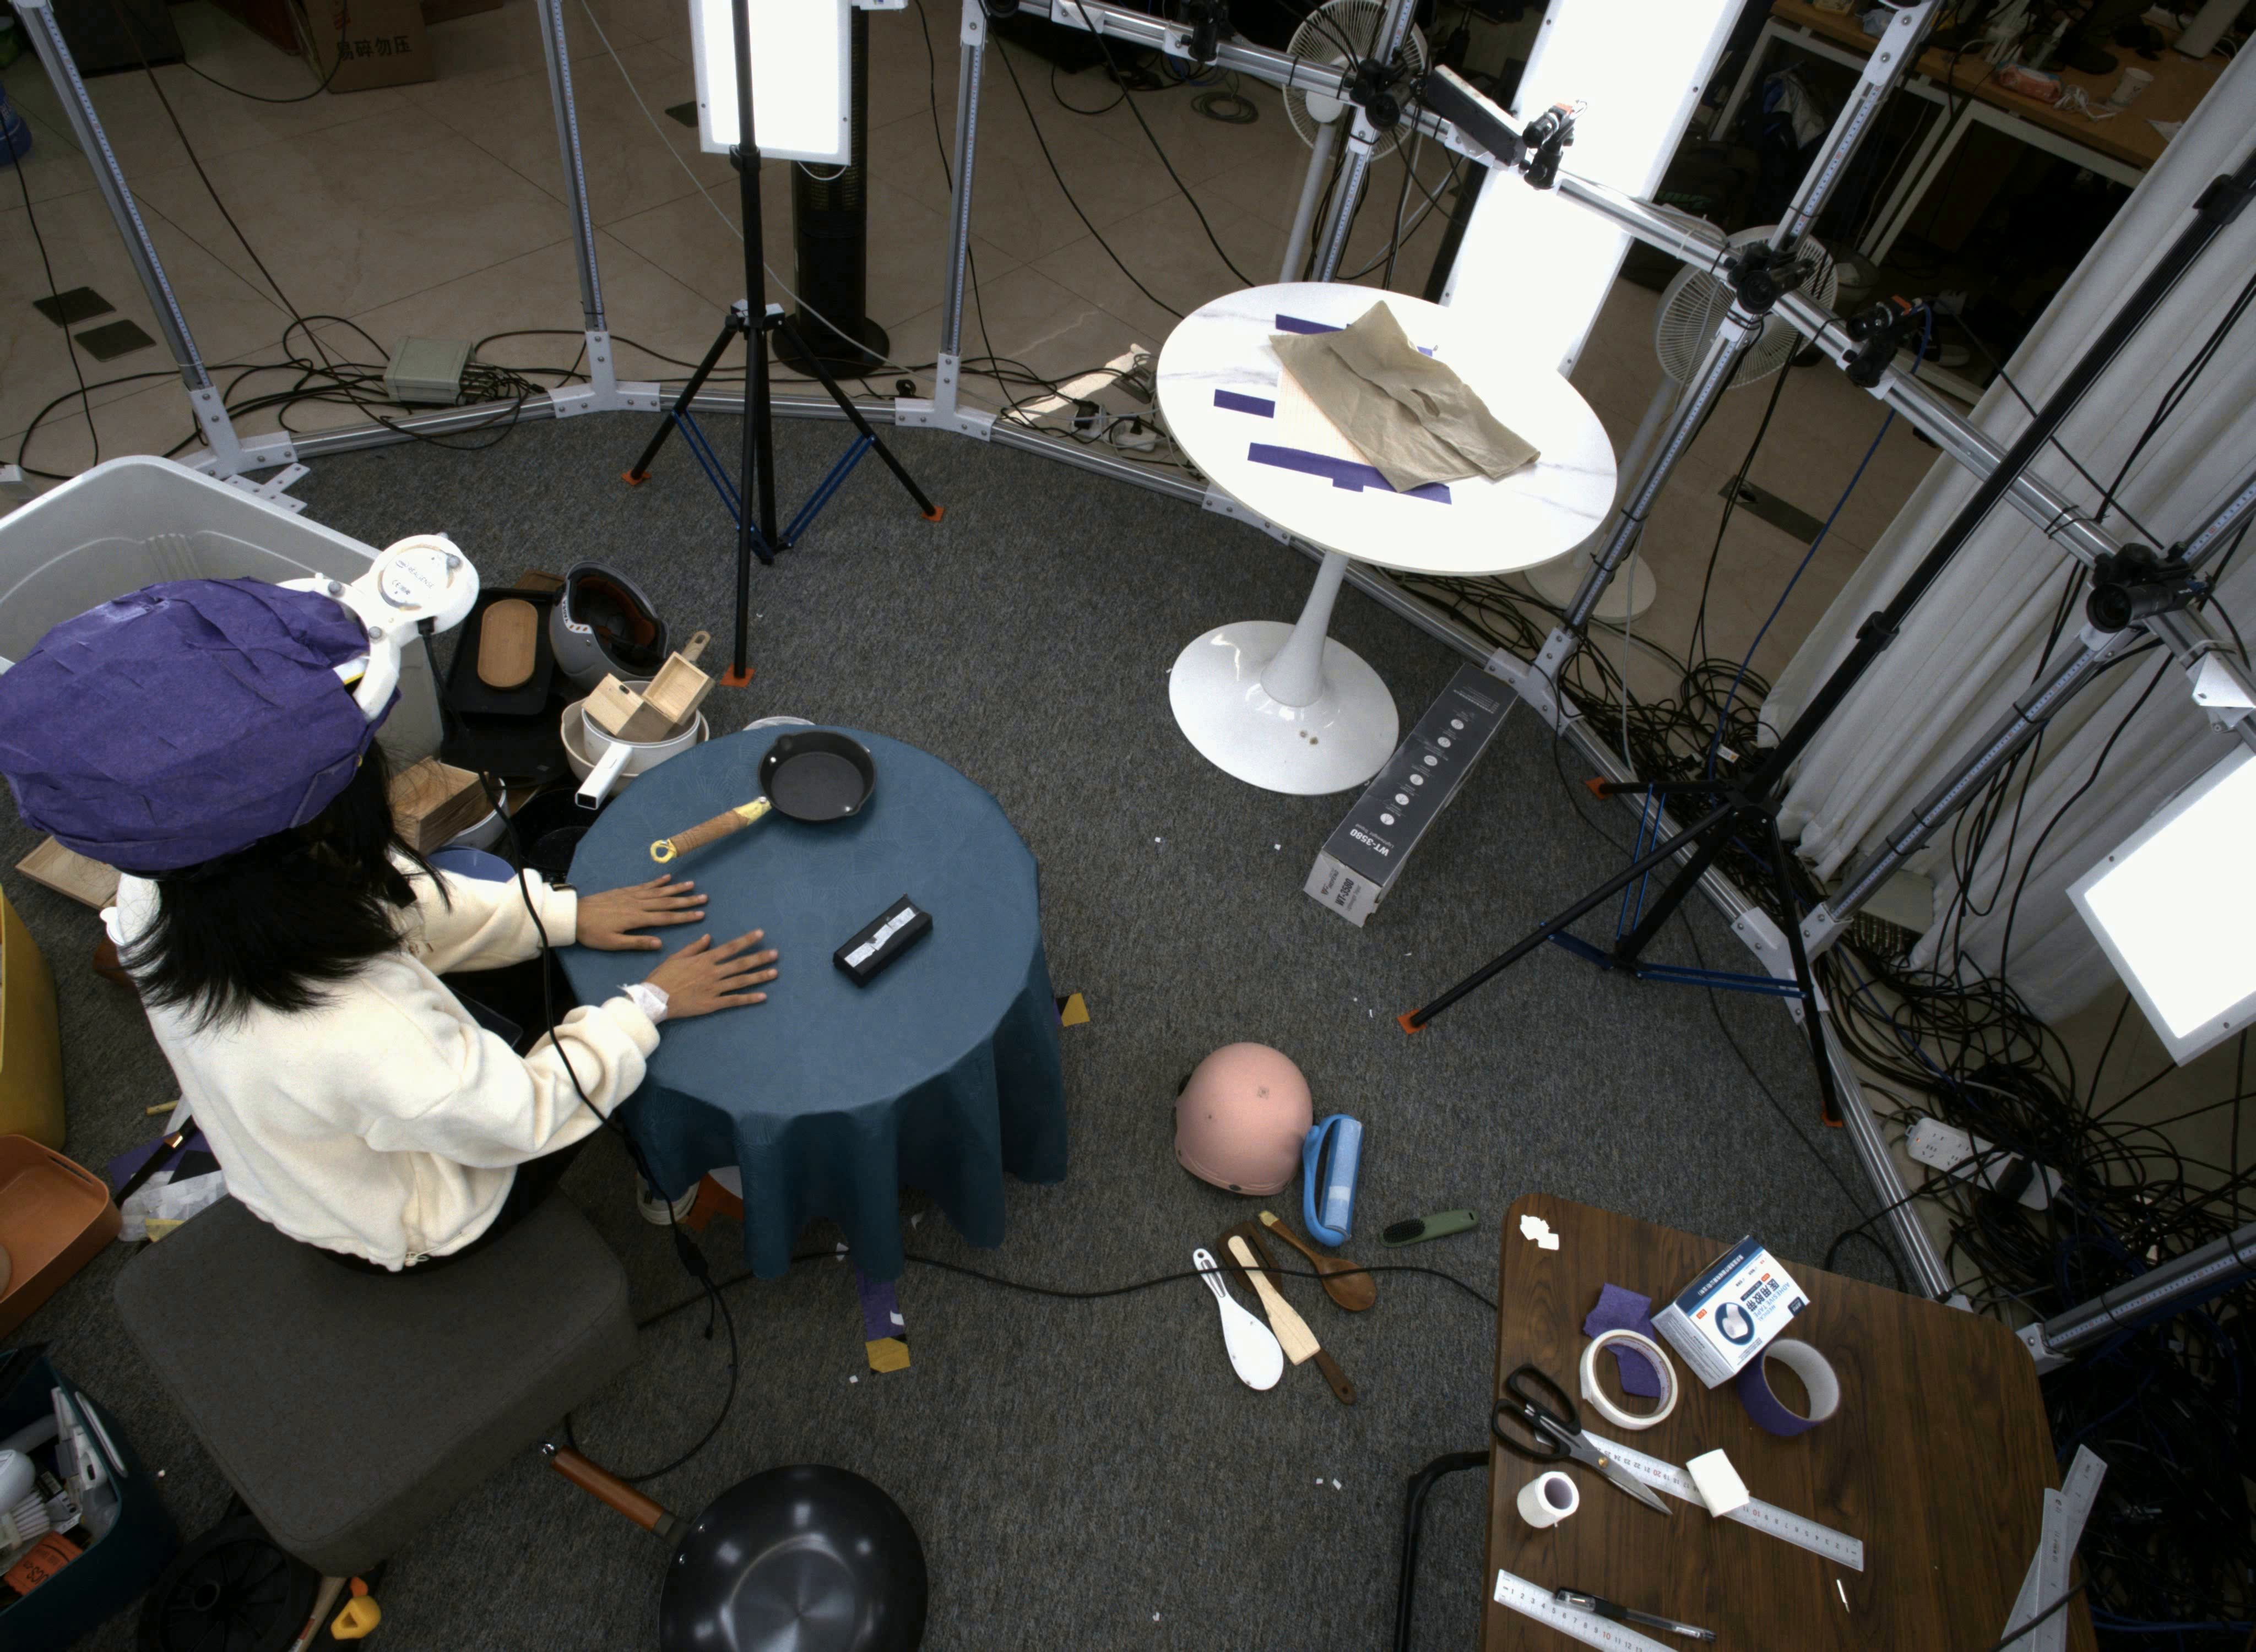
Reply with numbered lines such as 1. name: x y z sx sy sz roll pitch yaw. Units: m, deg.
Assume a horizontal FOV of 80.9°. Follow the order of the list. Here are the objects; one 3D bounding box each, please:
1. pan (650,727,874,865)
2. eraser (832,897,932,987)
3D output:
1. pan: -0.480 -0.029 1.693 0.325 0.050 0.165 -32 68 -33
2. eraser: -0.307 0.141 1.627 0.052 0.031 0.125 38 55 16
